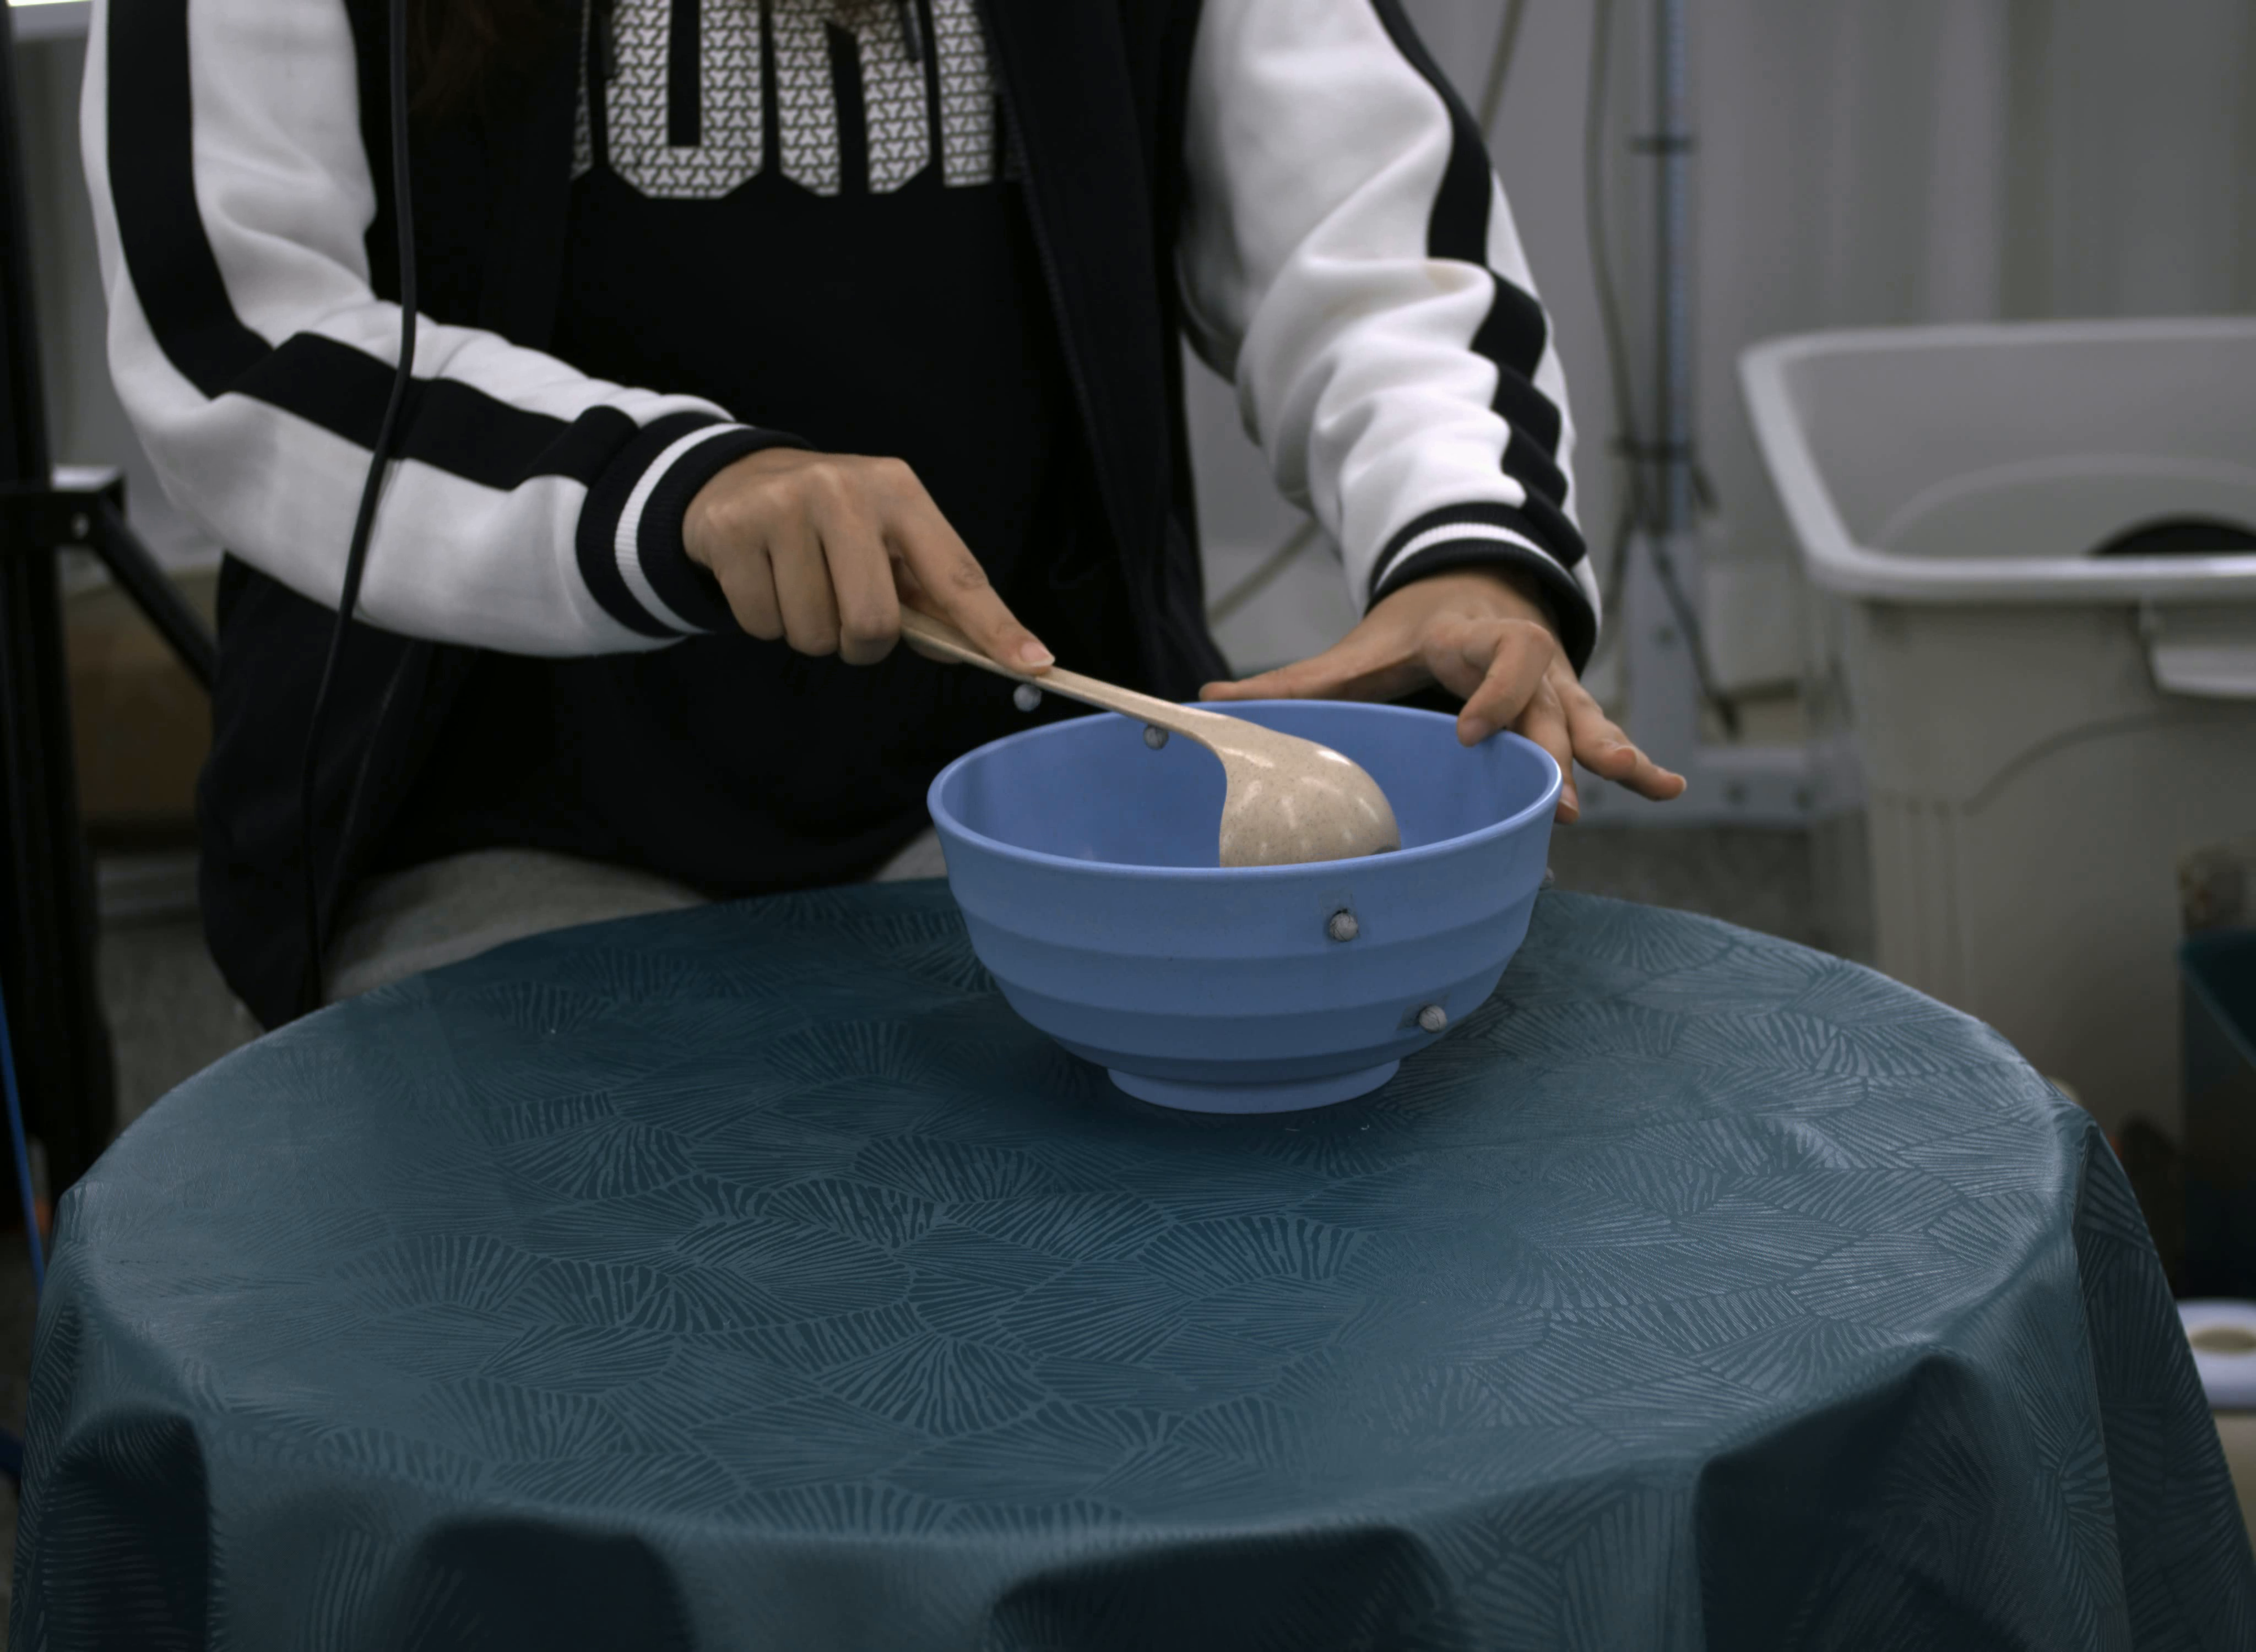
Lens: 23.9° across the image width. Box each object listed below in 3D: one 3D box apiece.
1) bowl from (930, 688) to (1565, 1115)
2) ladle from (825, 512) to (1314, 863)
[{"bbox_3d":[0.037,0.030,1.652,0.195,0.095,0.197,-1,18,-1],"label":"bowl"},{"bbox_3d":[-0.040,-0.026,1.686,0.072,0.070,0.260,-50,47,-9],"label":"ladle"}]
